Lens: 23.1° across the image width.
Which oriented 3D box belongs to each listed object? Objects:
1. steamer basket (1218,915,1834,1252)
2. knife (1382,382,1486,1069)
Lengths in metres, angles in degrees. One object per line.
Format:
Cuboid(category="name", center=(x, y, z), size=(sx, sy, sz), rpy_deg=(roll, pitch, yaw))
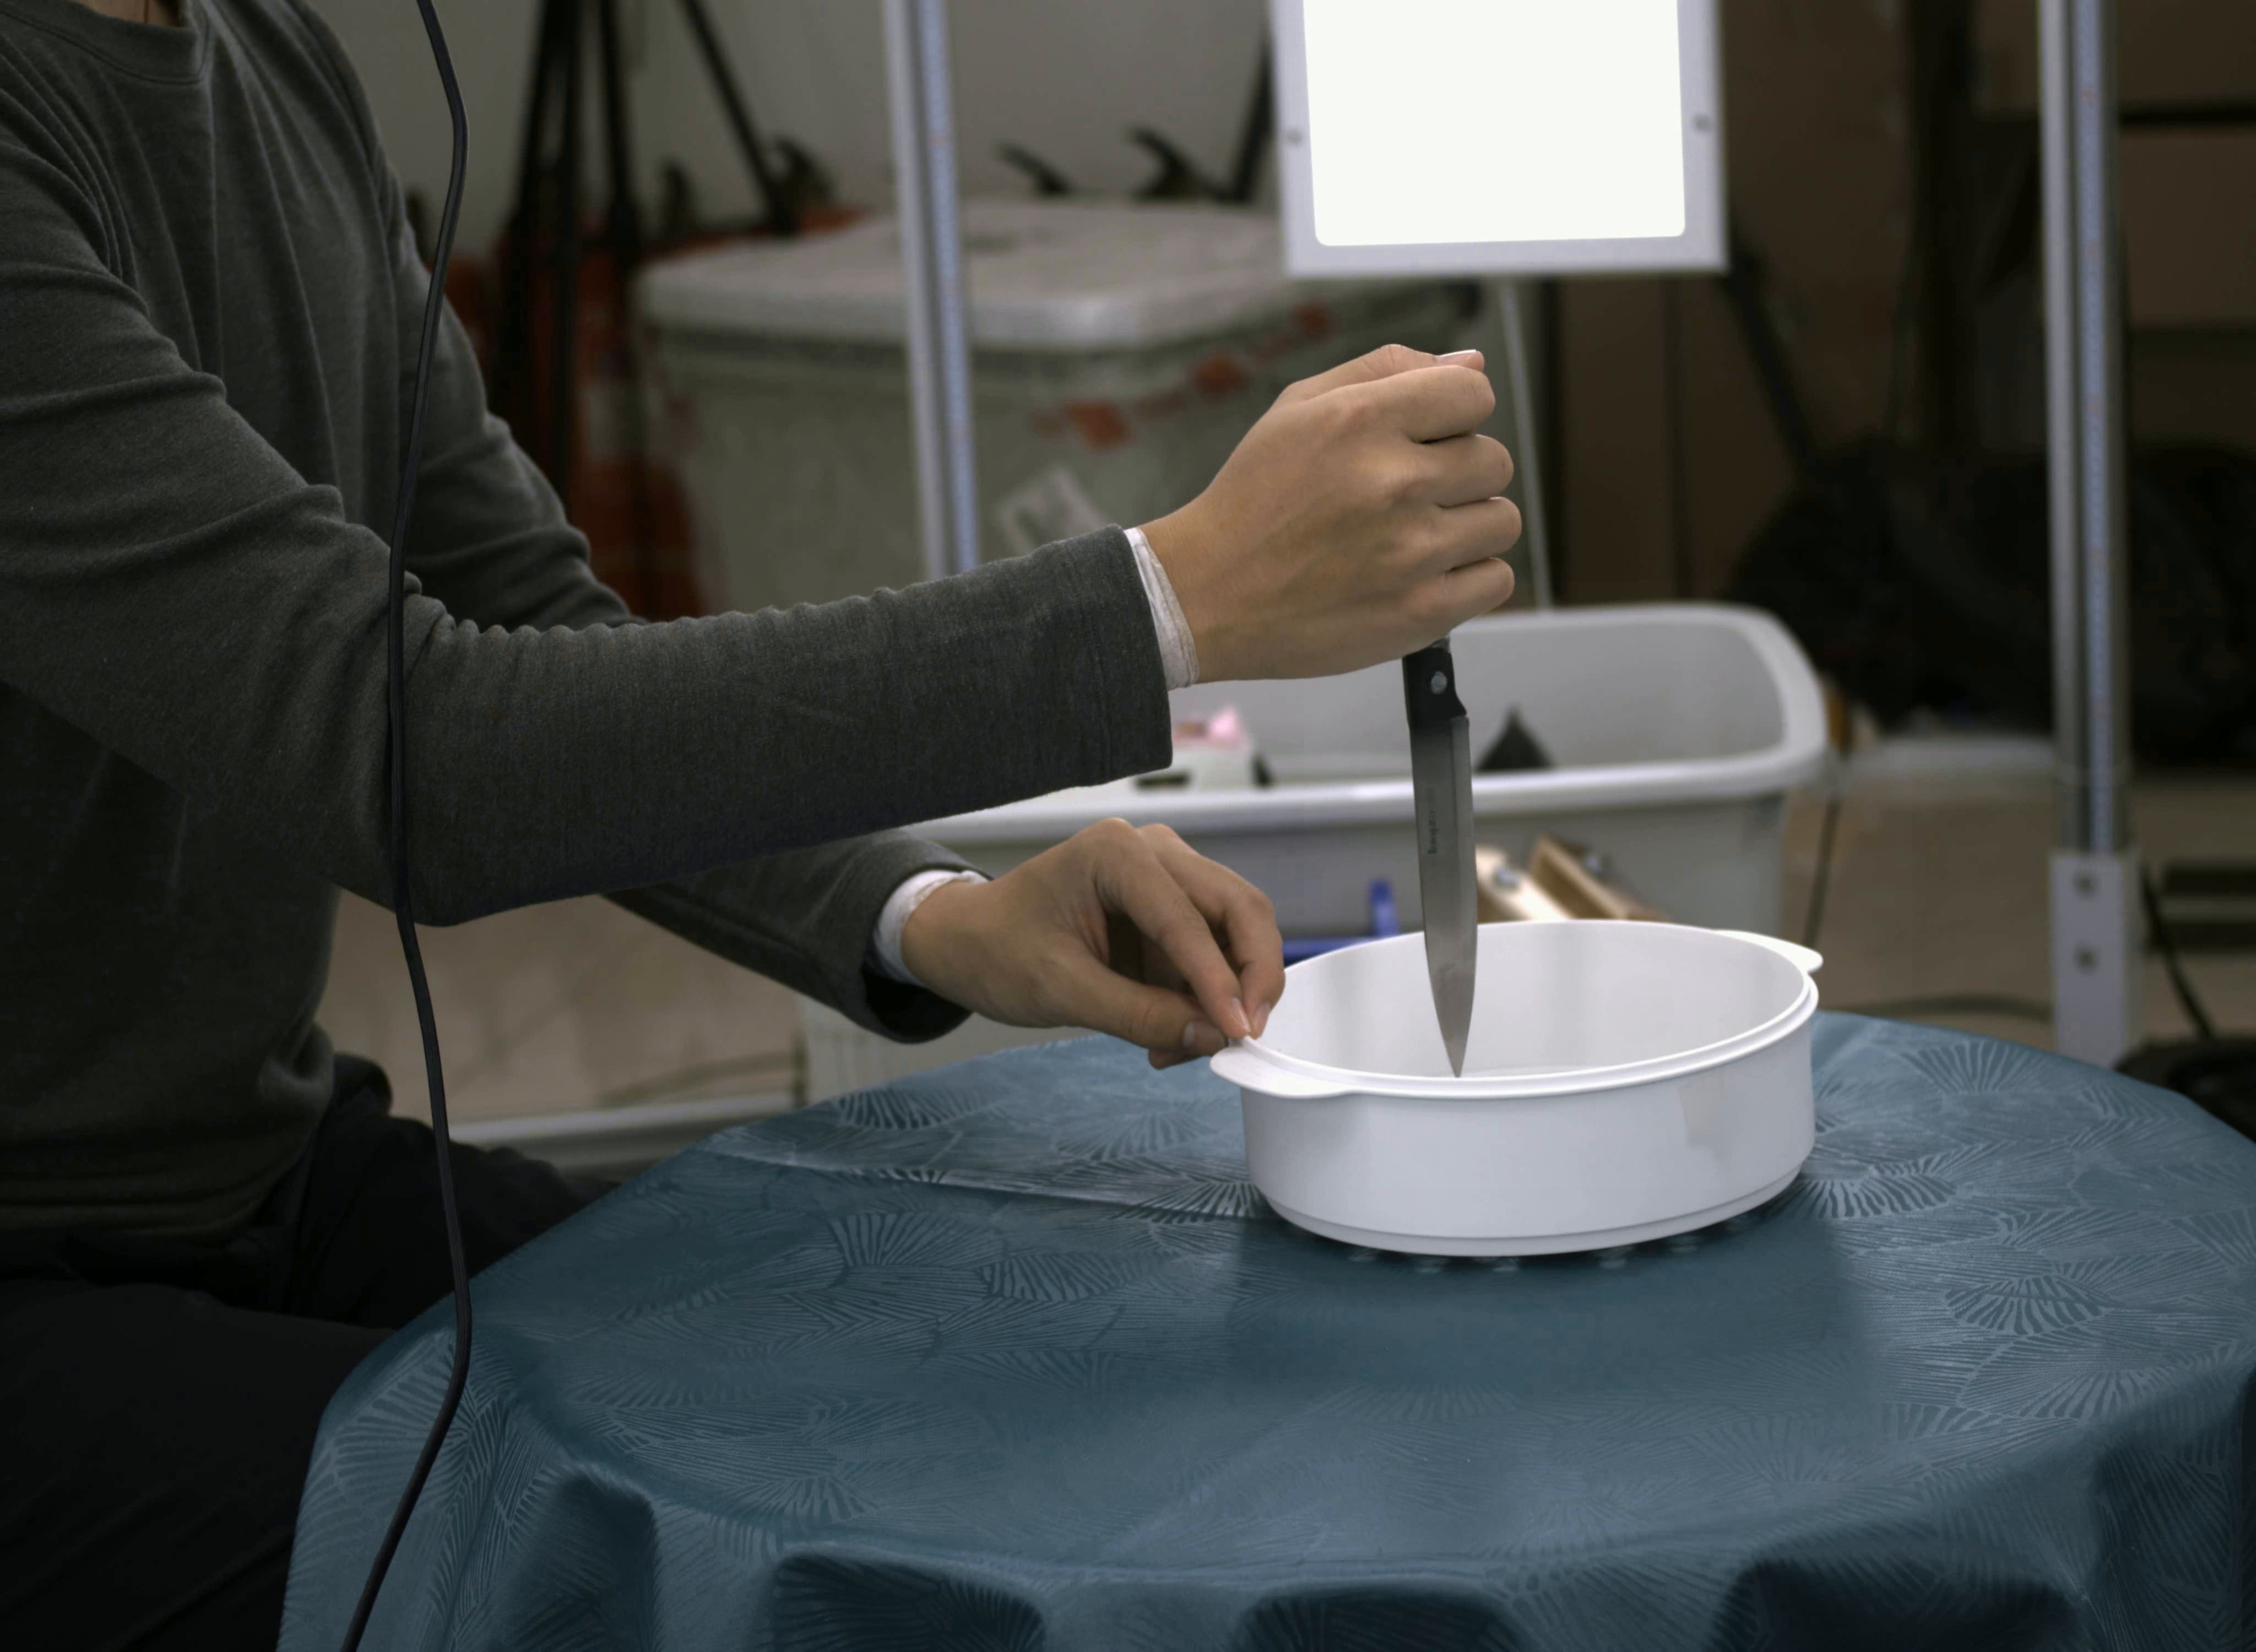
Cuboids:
Cuboid(category="steamer basket", center=(0.140, 0.087, 1.867), size=(0.225, 0.069, 0.205), rpy_deg=(-13, 15, -27))
Cuboid(category="knife", center=(0.102, -0.029, 1.822), size=(0.024, 0.239, 0.016), rpy_deg=(-10, 16, -17))
